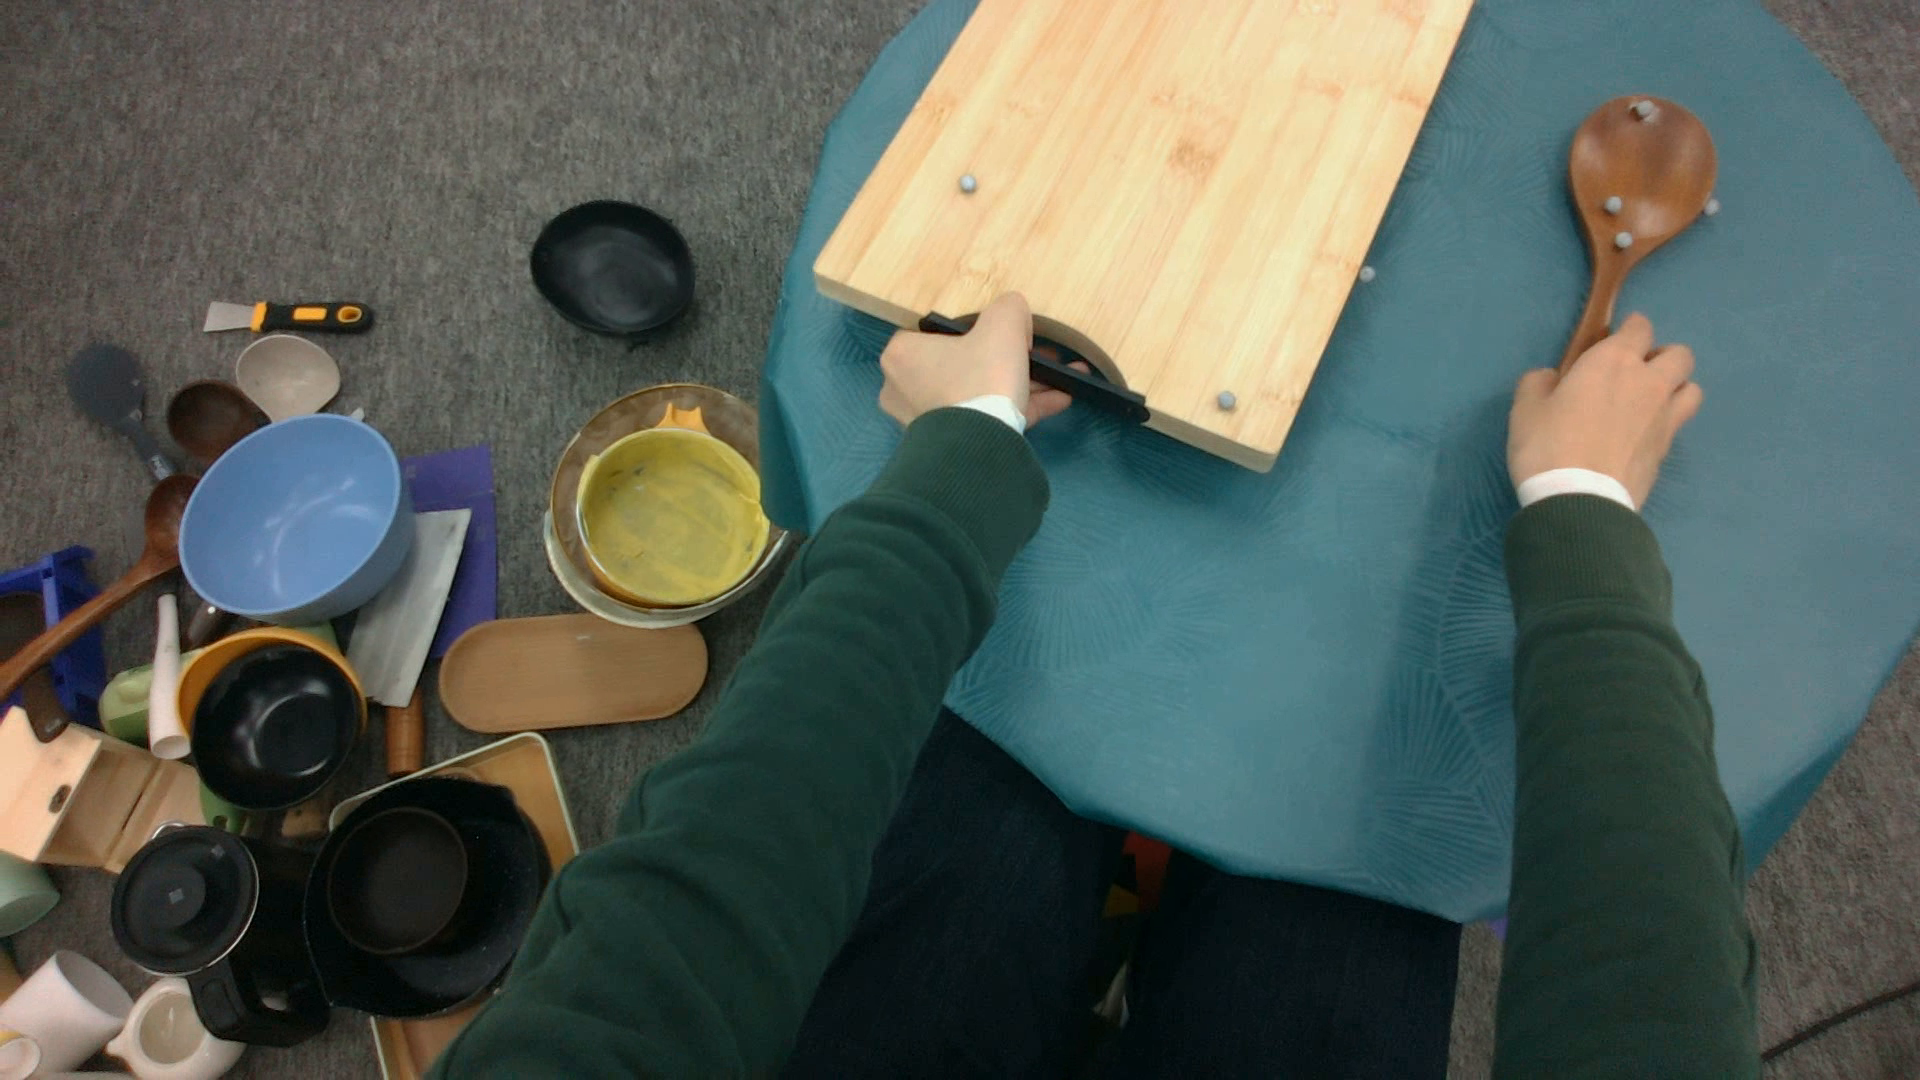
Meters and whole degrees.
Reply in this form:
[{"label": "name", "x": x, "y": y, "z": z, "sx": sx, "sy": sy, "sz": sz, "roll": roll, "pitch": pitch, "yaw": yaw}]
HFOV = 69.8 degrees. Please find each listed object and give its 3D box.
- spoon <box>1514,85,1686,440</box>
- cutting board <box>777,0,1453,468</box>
[{"label": "spoon", "x": 0.320, "y": -0.145, "z": 0.705, "sx": 0.075, "sy": 0.017, "sz": 0.216, "roll": 21, "pitch": 70, "yaw": 6}, {"label": "cutting board", "x": 0.095, "y": -0.220, "z": 0.715, "sx": 0.250, "sy": 0.023, "sz": 0.350, "roll": 22, "pitch": 65, "yaw": 10}]
